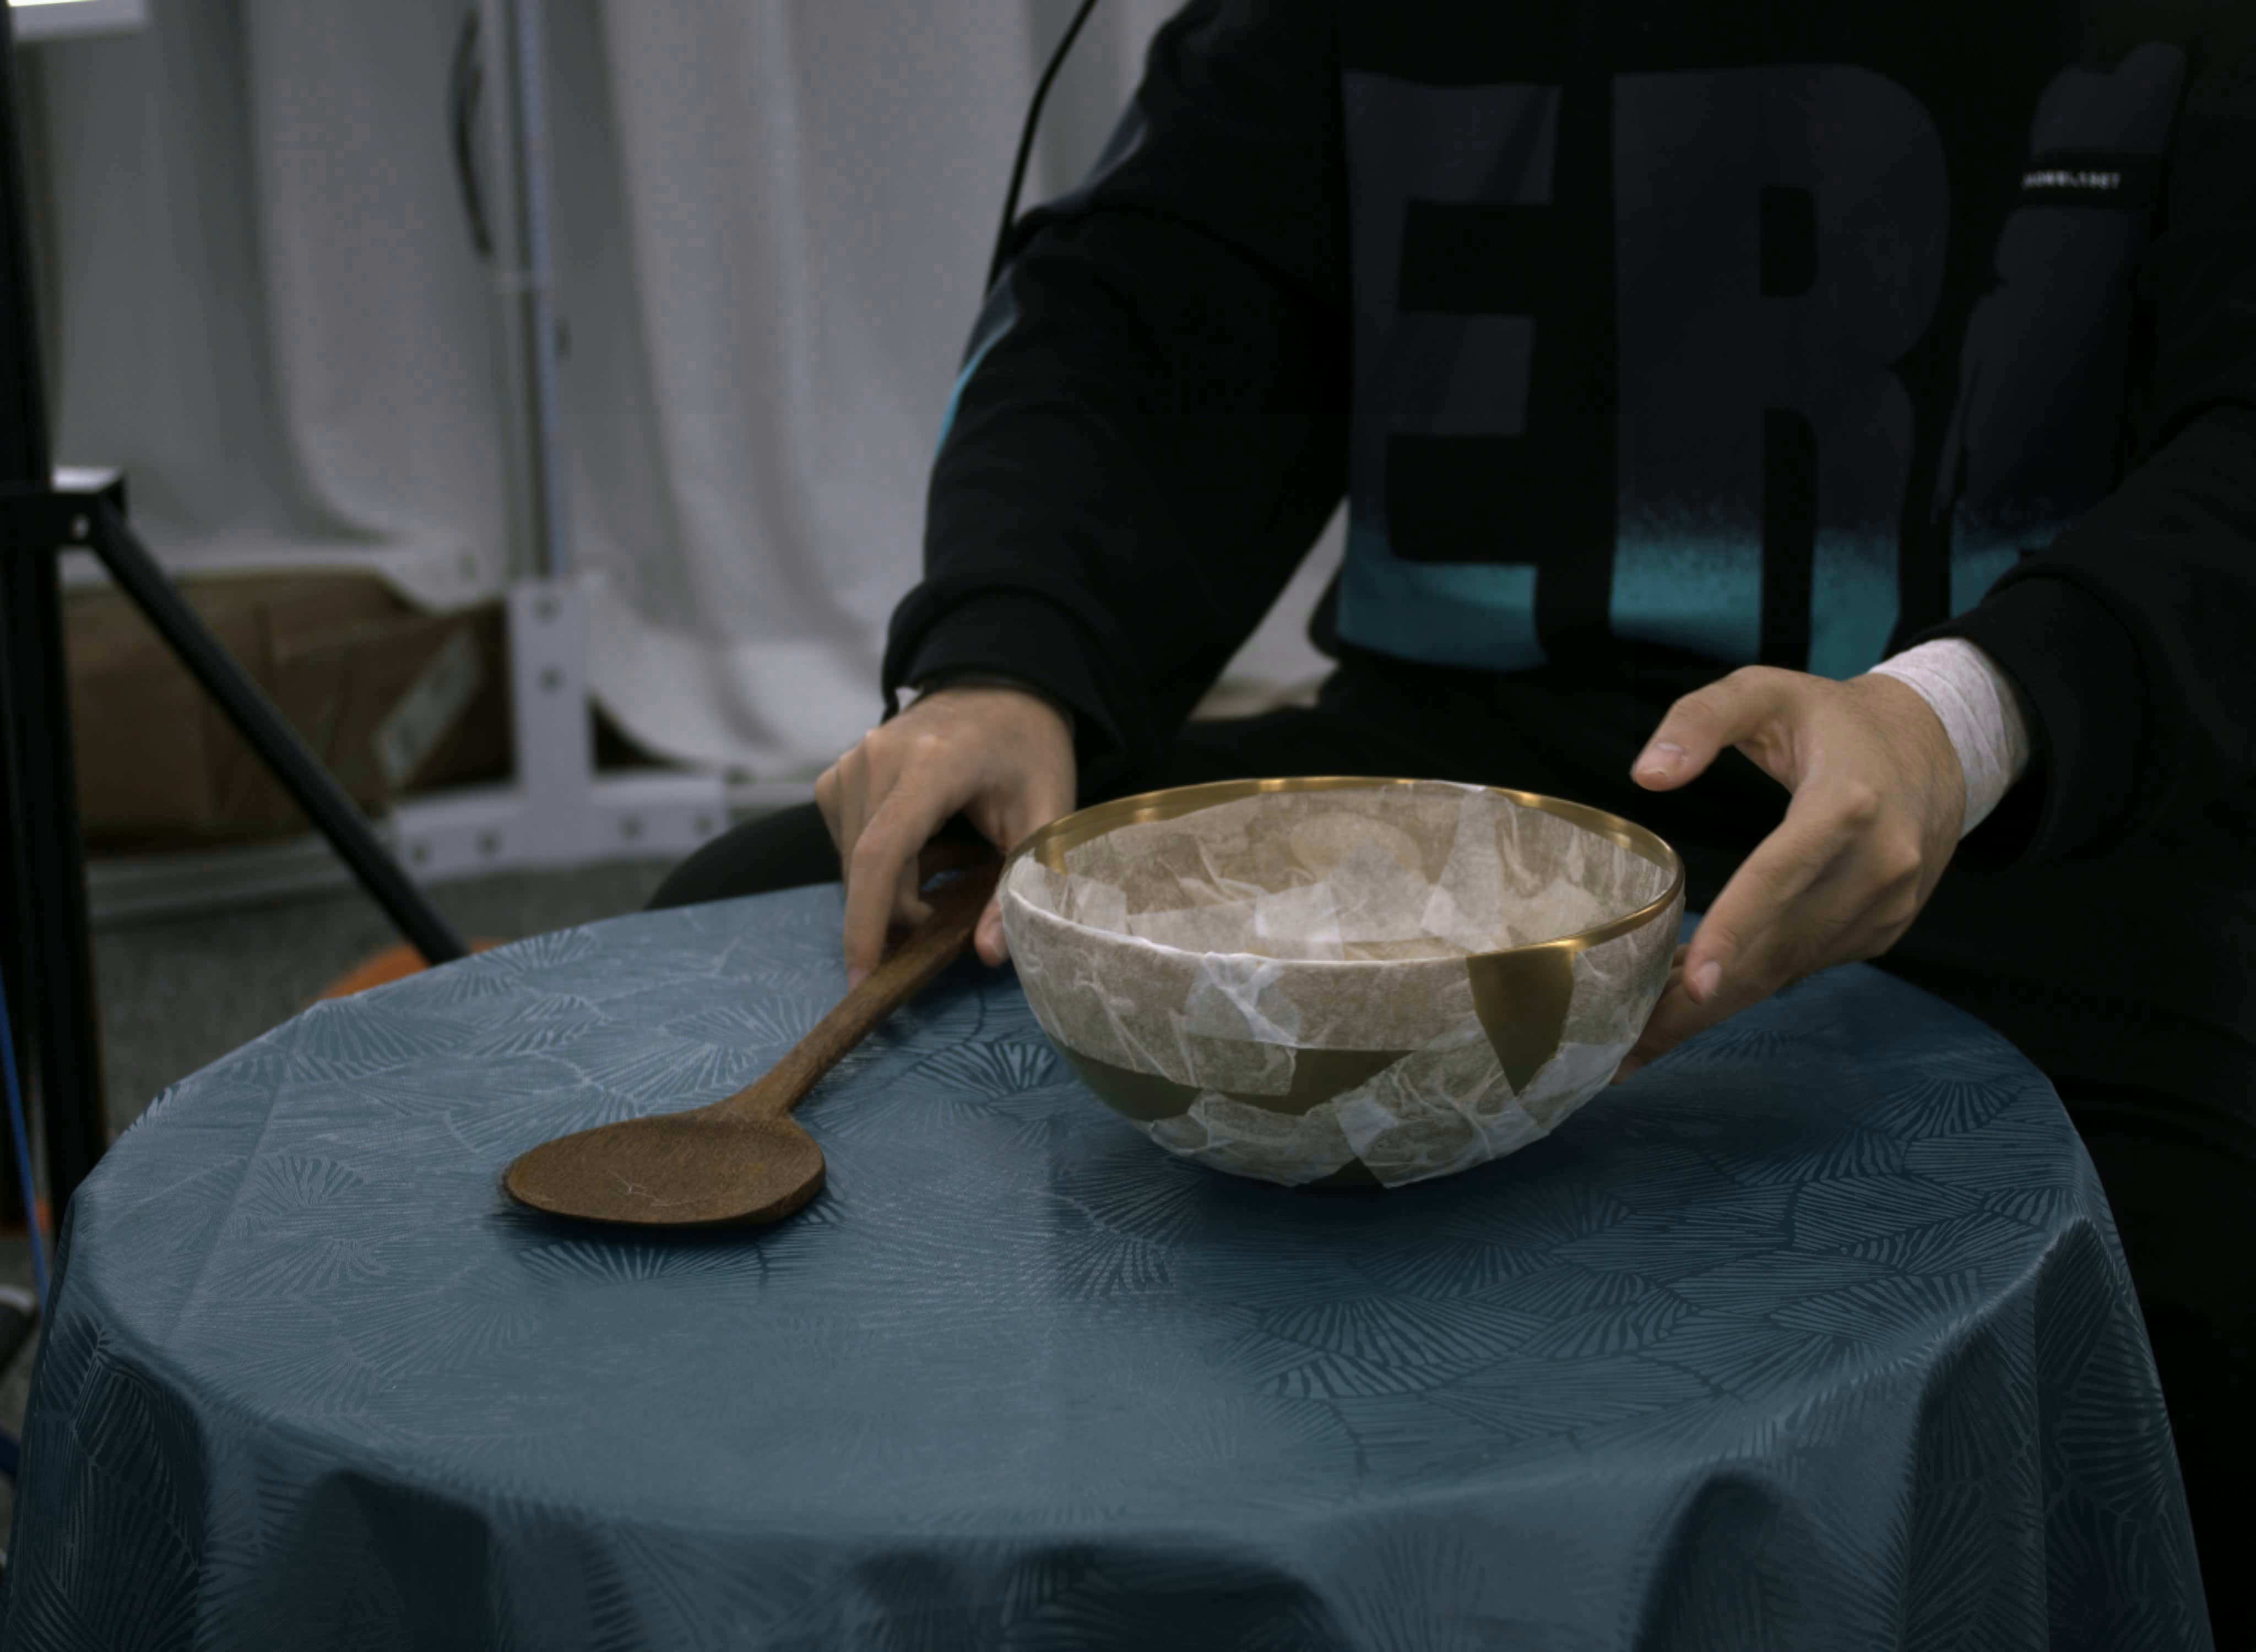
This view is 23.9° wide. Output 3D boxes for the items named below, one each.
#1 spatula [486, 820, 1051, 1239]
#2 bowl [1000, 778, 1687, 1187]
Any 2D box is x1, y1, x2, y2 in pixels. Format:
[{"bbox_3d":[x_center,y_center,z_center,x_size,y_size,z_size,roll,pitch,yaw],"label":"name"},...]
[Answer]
[{"bbox_3d":[-0.084,0.058,1.704,0.097,0.016,0.381,4,20,21],"label":"spatula"},{"bbox_3d":[0.066,0.053,1.568,0.213,0.094,0.216,-1,14,-1],"label":"bowl"}]
